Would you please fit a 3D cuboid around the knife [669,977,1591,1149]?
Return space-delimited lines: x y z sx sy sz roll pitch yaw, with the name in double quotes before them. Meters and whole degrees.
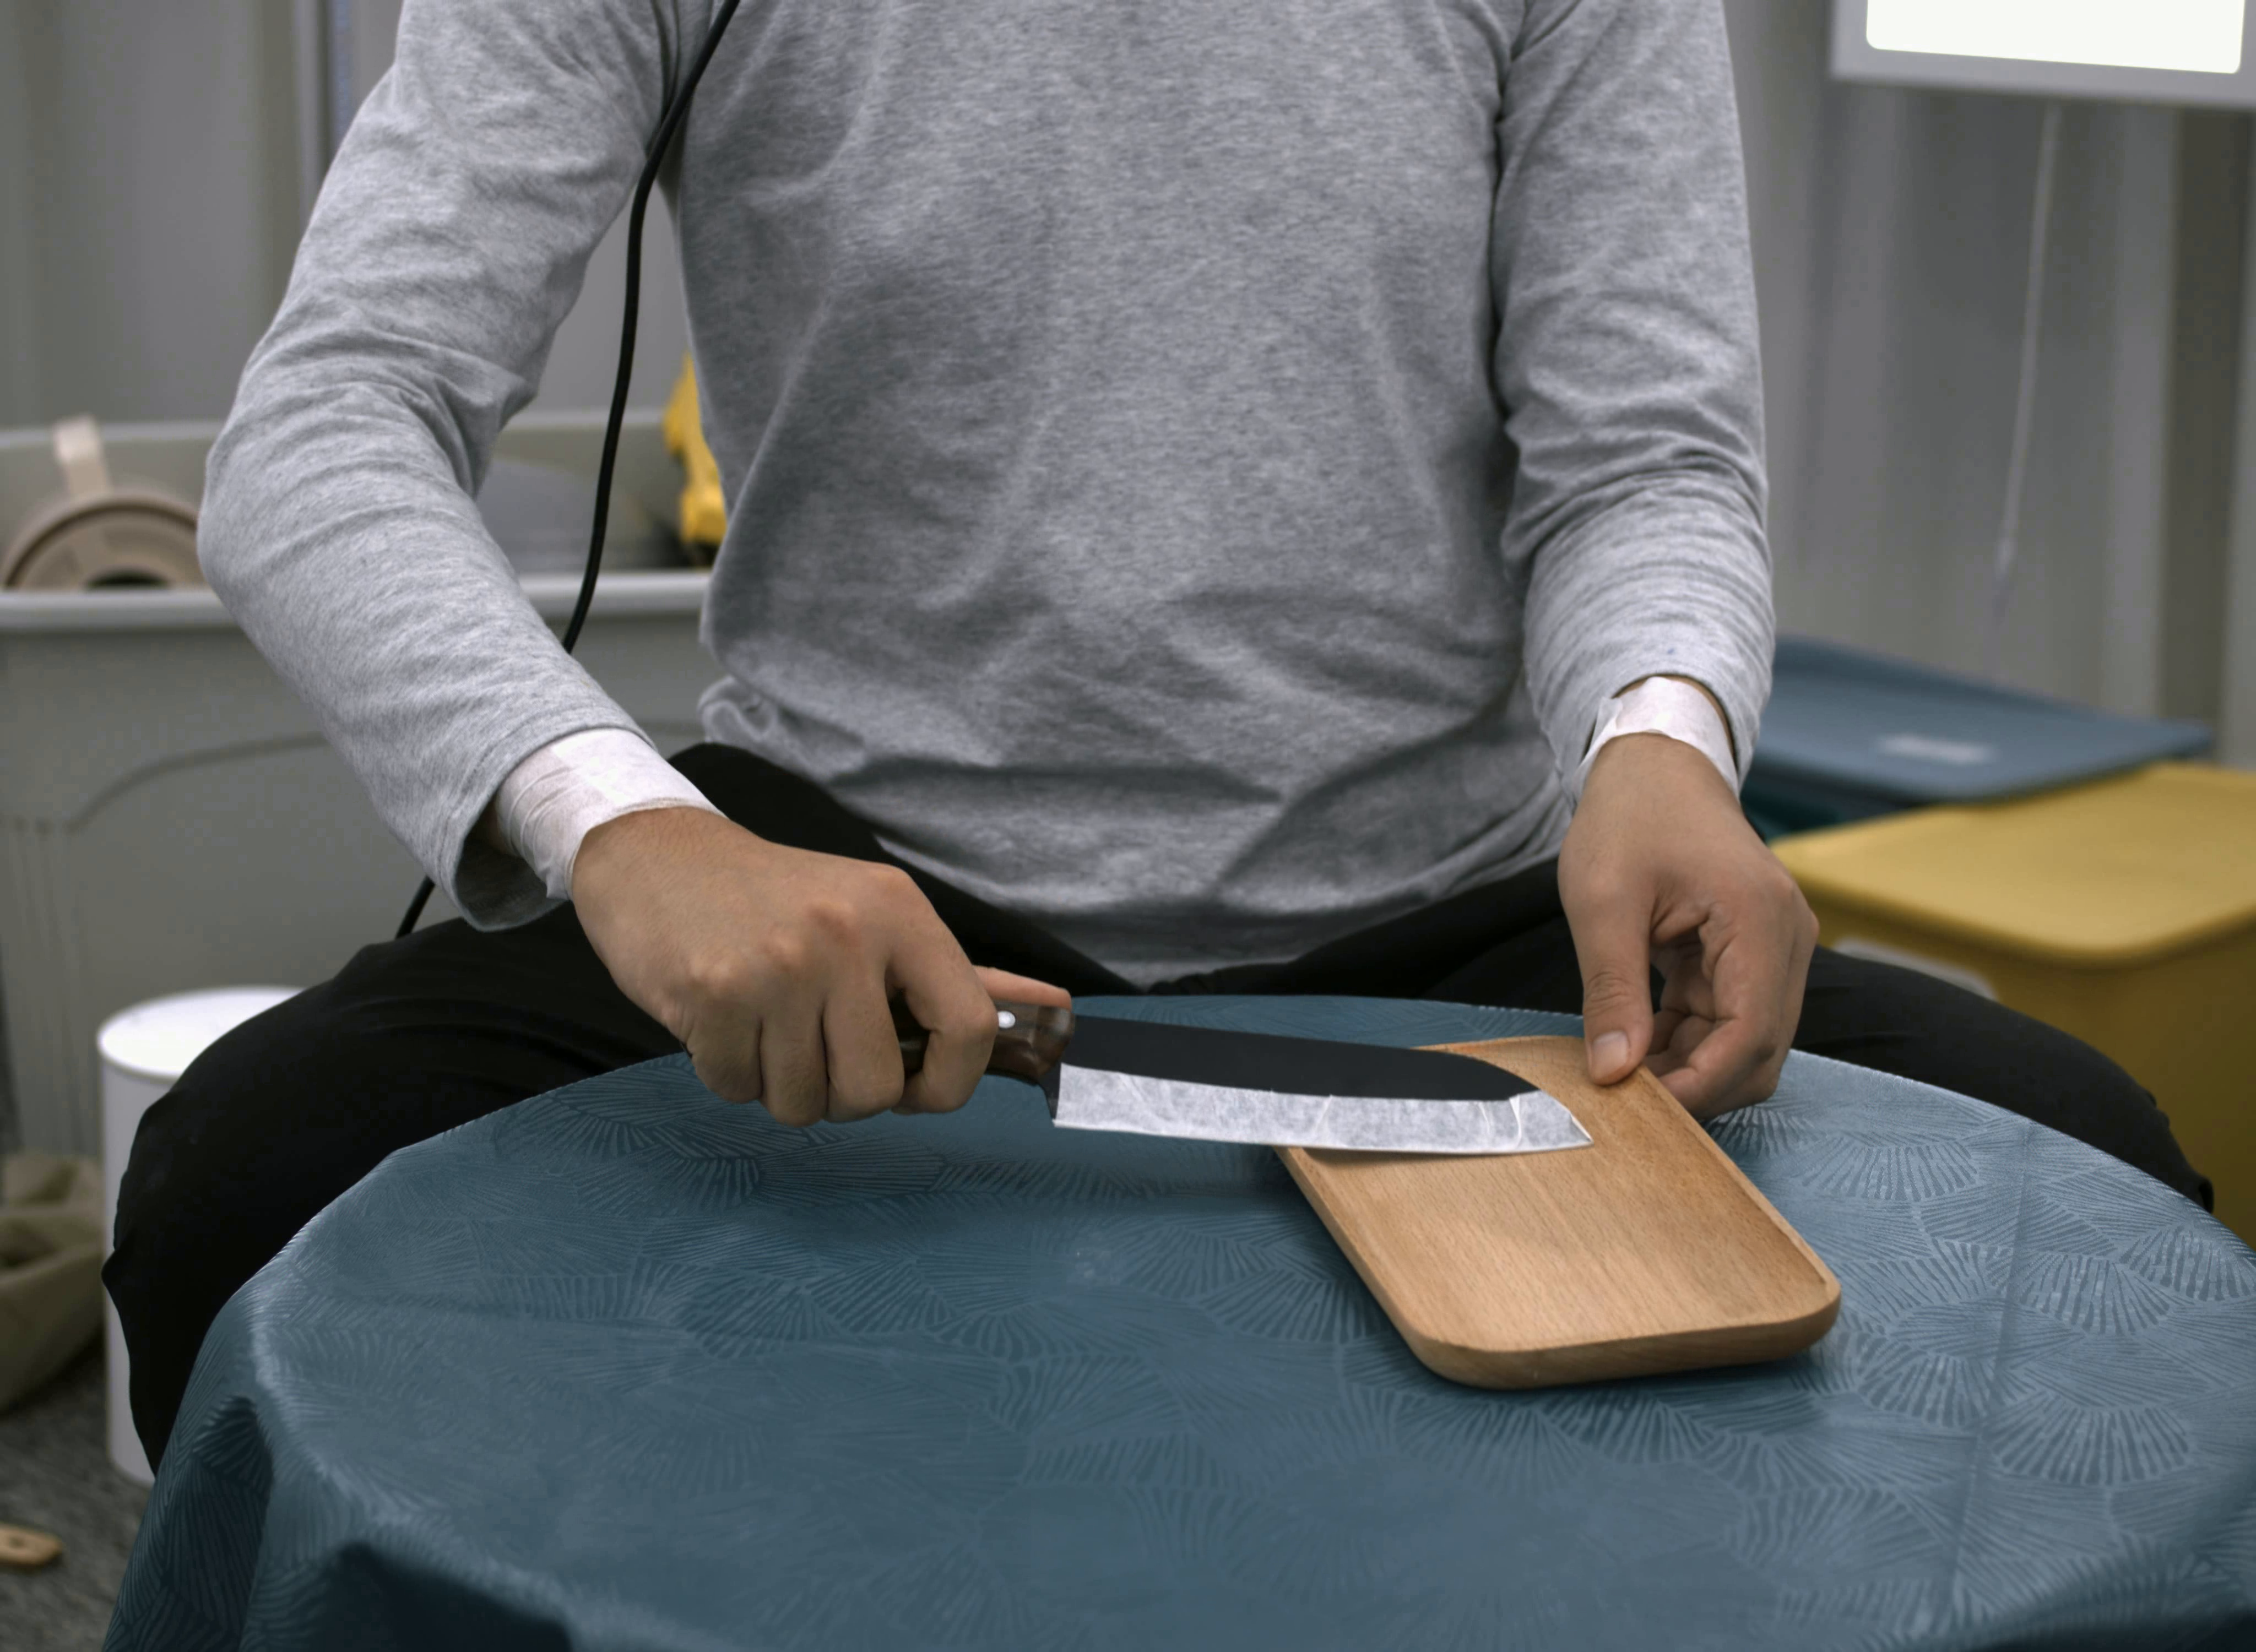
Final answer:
"knife" 0.001 0.075 1.627 0.288 0.020 0.050 7 51 -2

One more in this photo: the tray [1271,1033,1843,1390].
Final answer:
"tray" 0.121 0.112 1.582 0.130 0.023 0.248 -3 16 -10
